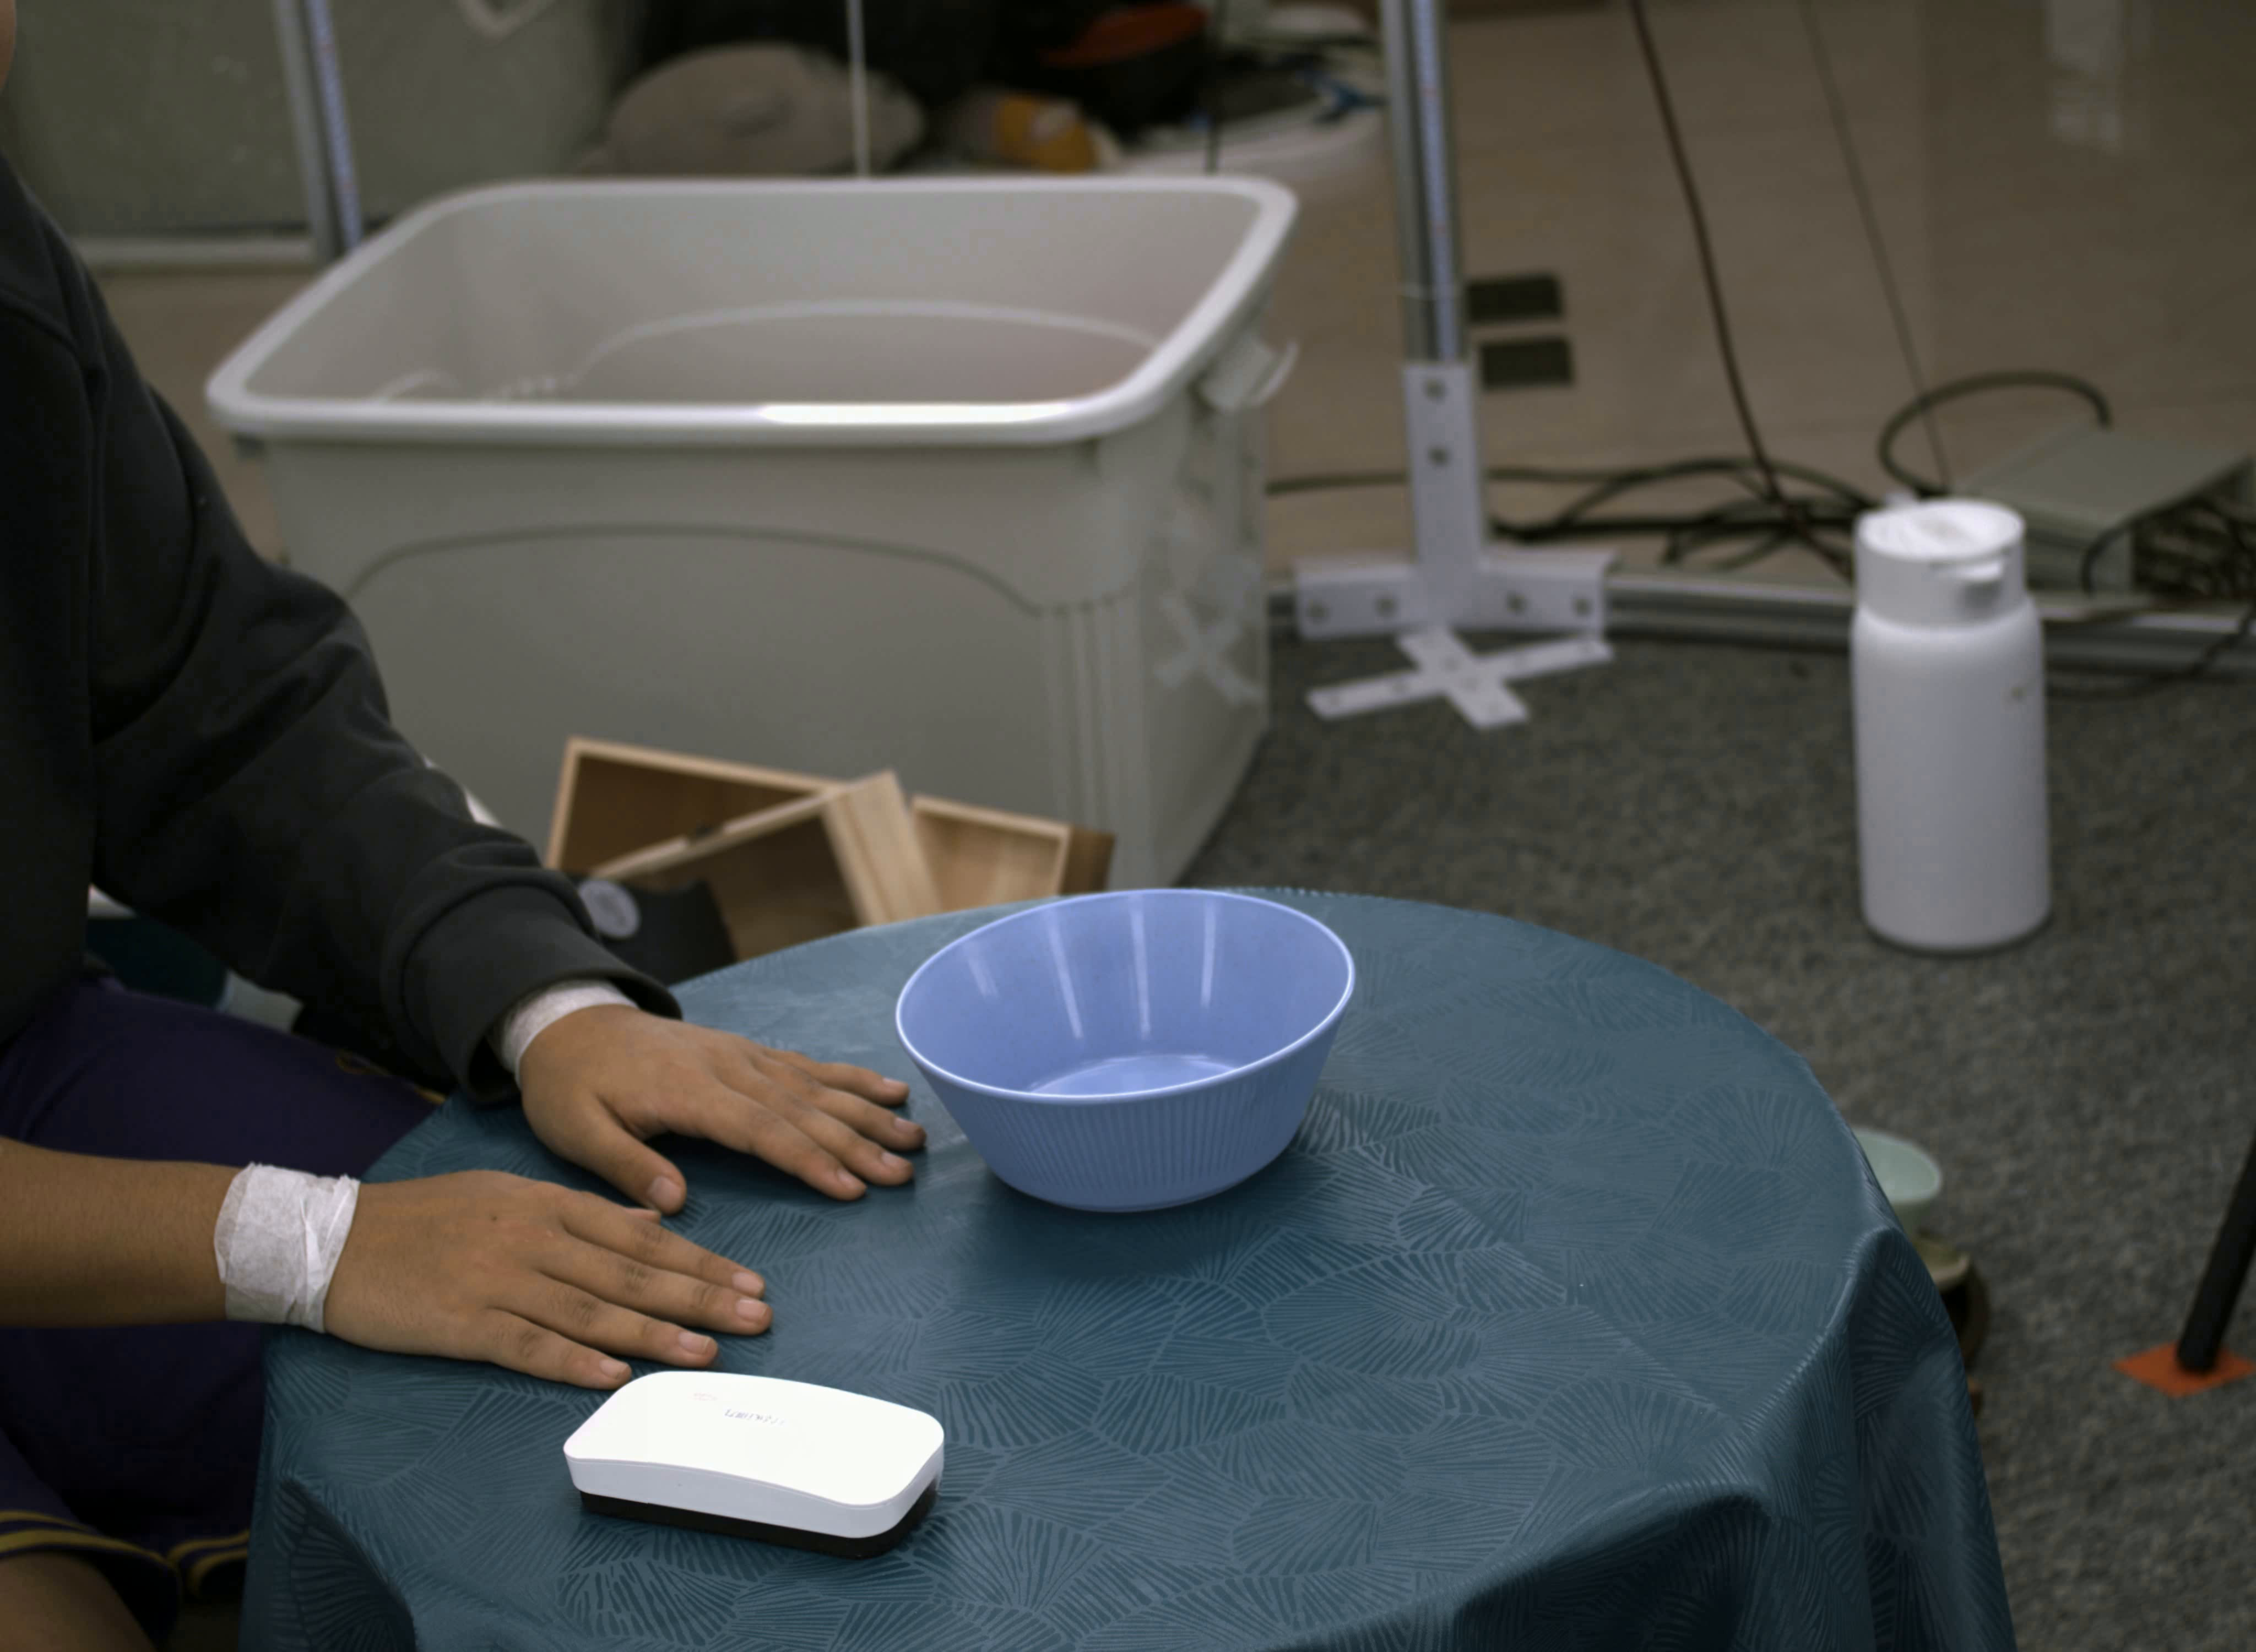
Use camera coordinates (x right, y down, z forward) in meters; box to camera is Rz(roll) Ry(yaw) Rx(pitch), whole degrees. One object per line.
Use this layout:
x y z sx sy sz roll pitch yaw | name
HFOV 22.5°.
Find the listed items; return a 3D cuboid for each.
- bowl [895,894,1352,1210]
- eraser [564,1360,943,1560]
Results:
0.001 0.091 2.163 0.176 0.071 0.173 -5 24 2 | bowl
-0.129 0.218 1.971 0.131 0.035 0.062 9 28 26 | eraser
